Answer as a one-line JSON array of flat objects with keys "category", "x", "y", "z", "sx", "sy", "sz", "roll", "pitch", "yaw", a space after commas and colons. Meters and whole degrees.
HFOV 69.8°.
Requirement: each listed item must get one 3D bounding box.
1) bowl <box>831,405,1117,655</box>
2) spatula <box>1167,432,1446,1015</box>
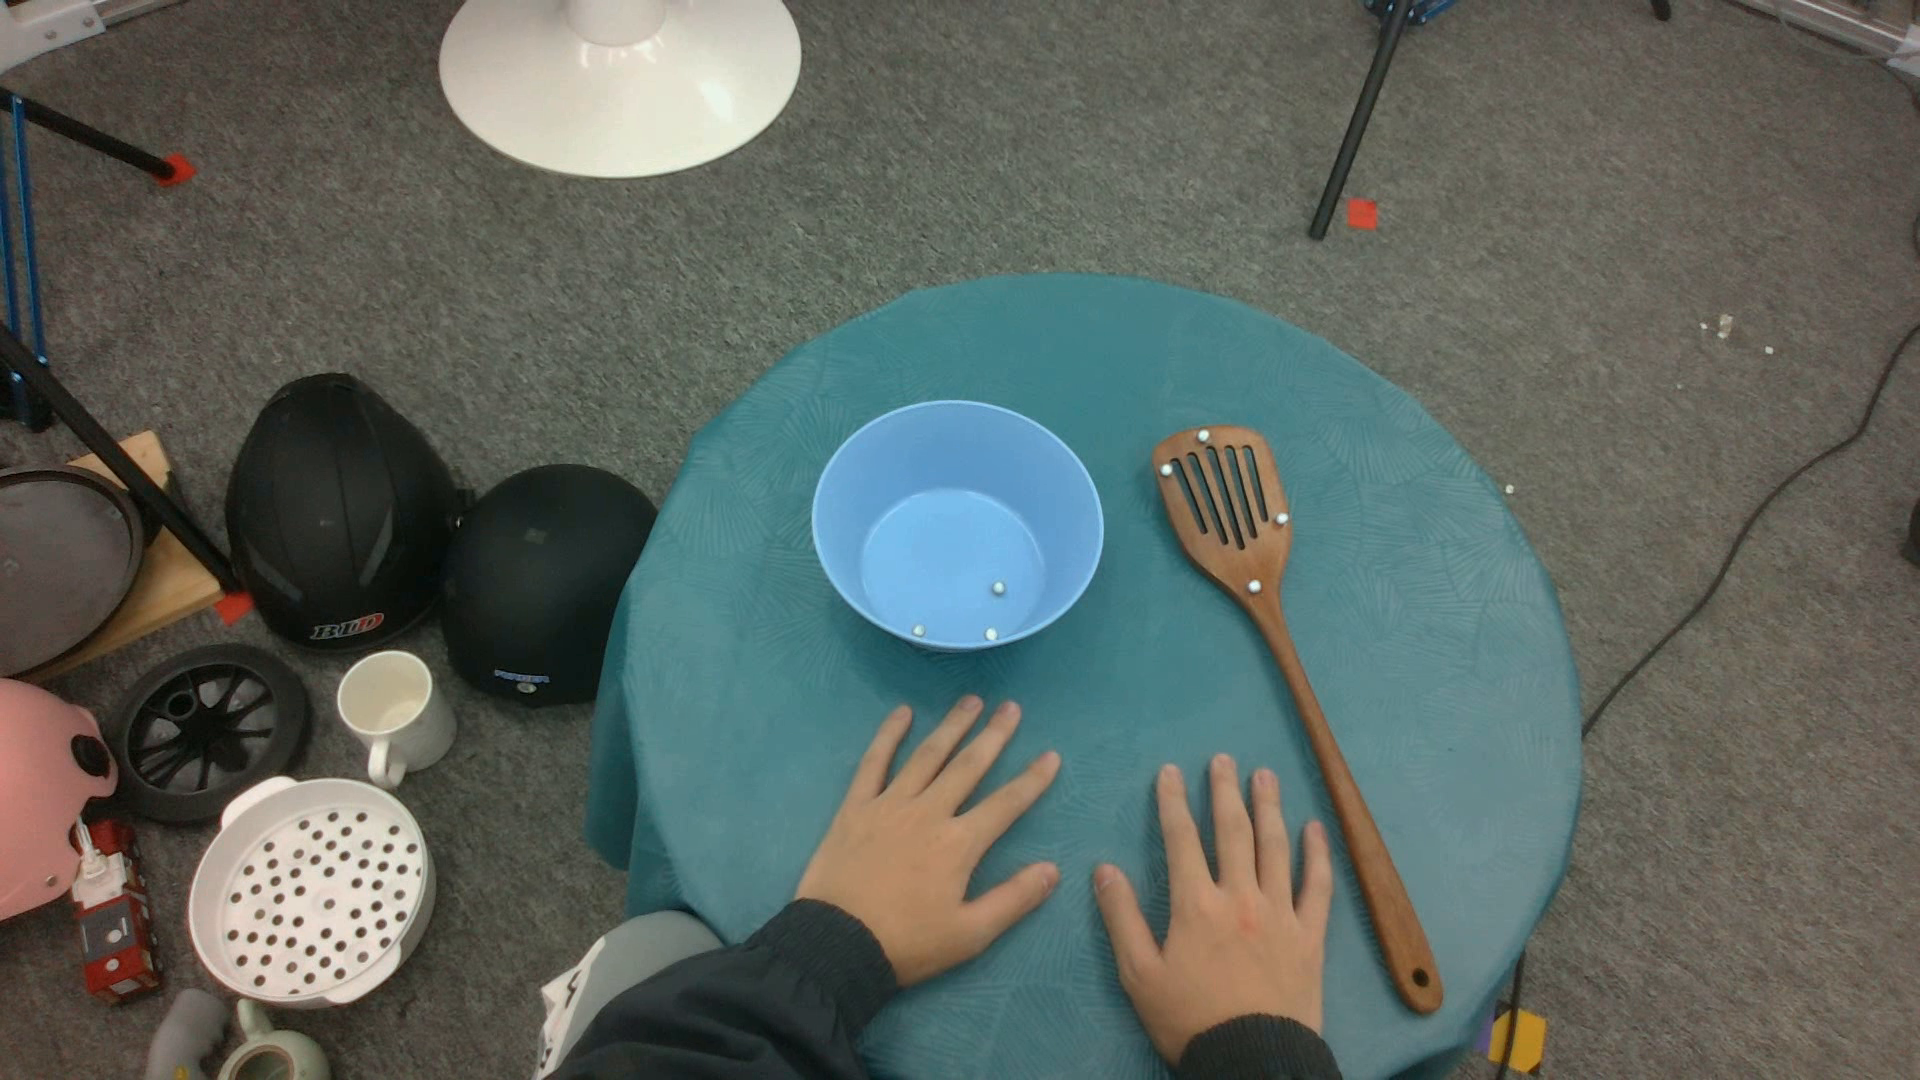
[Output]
[{"category": "bowl", "x": 0.008, "y": 0.005, "z": 0.865, "sx": 0.176, "sy": 0.070, "sz": 0.177, "roll": 2, "pitch": 59, "yaw": -2}, {"category": "spatula", "x": 0.218, "y": 0.097, "z": 0.851, "sx": 0.085, "sy": 0.024, "sz": 0.388, "roll": -10, "pitch": 60, "yaw": -9}]
